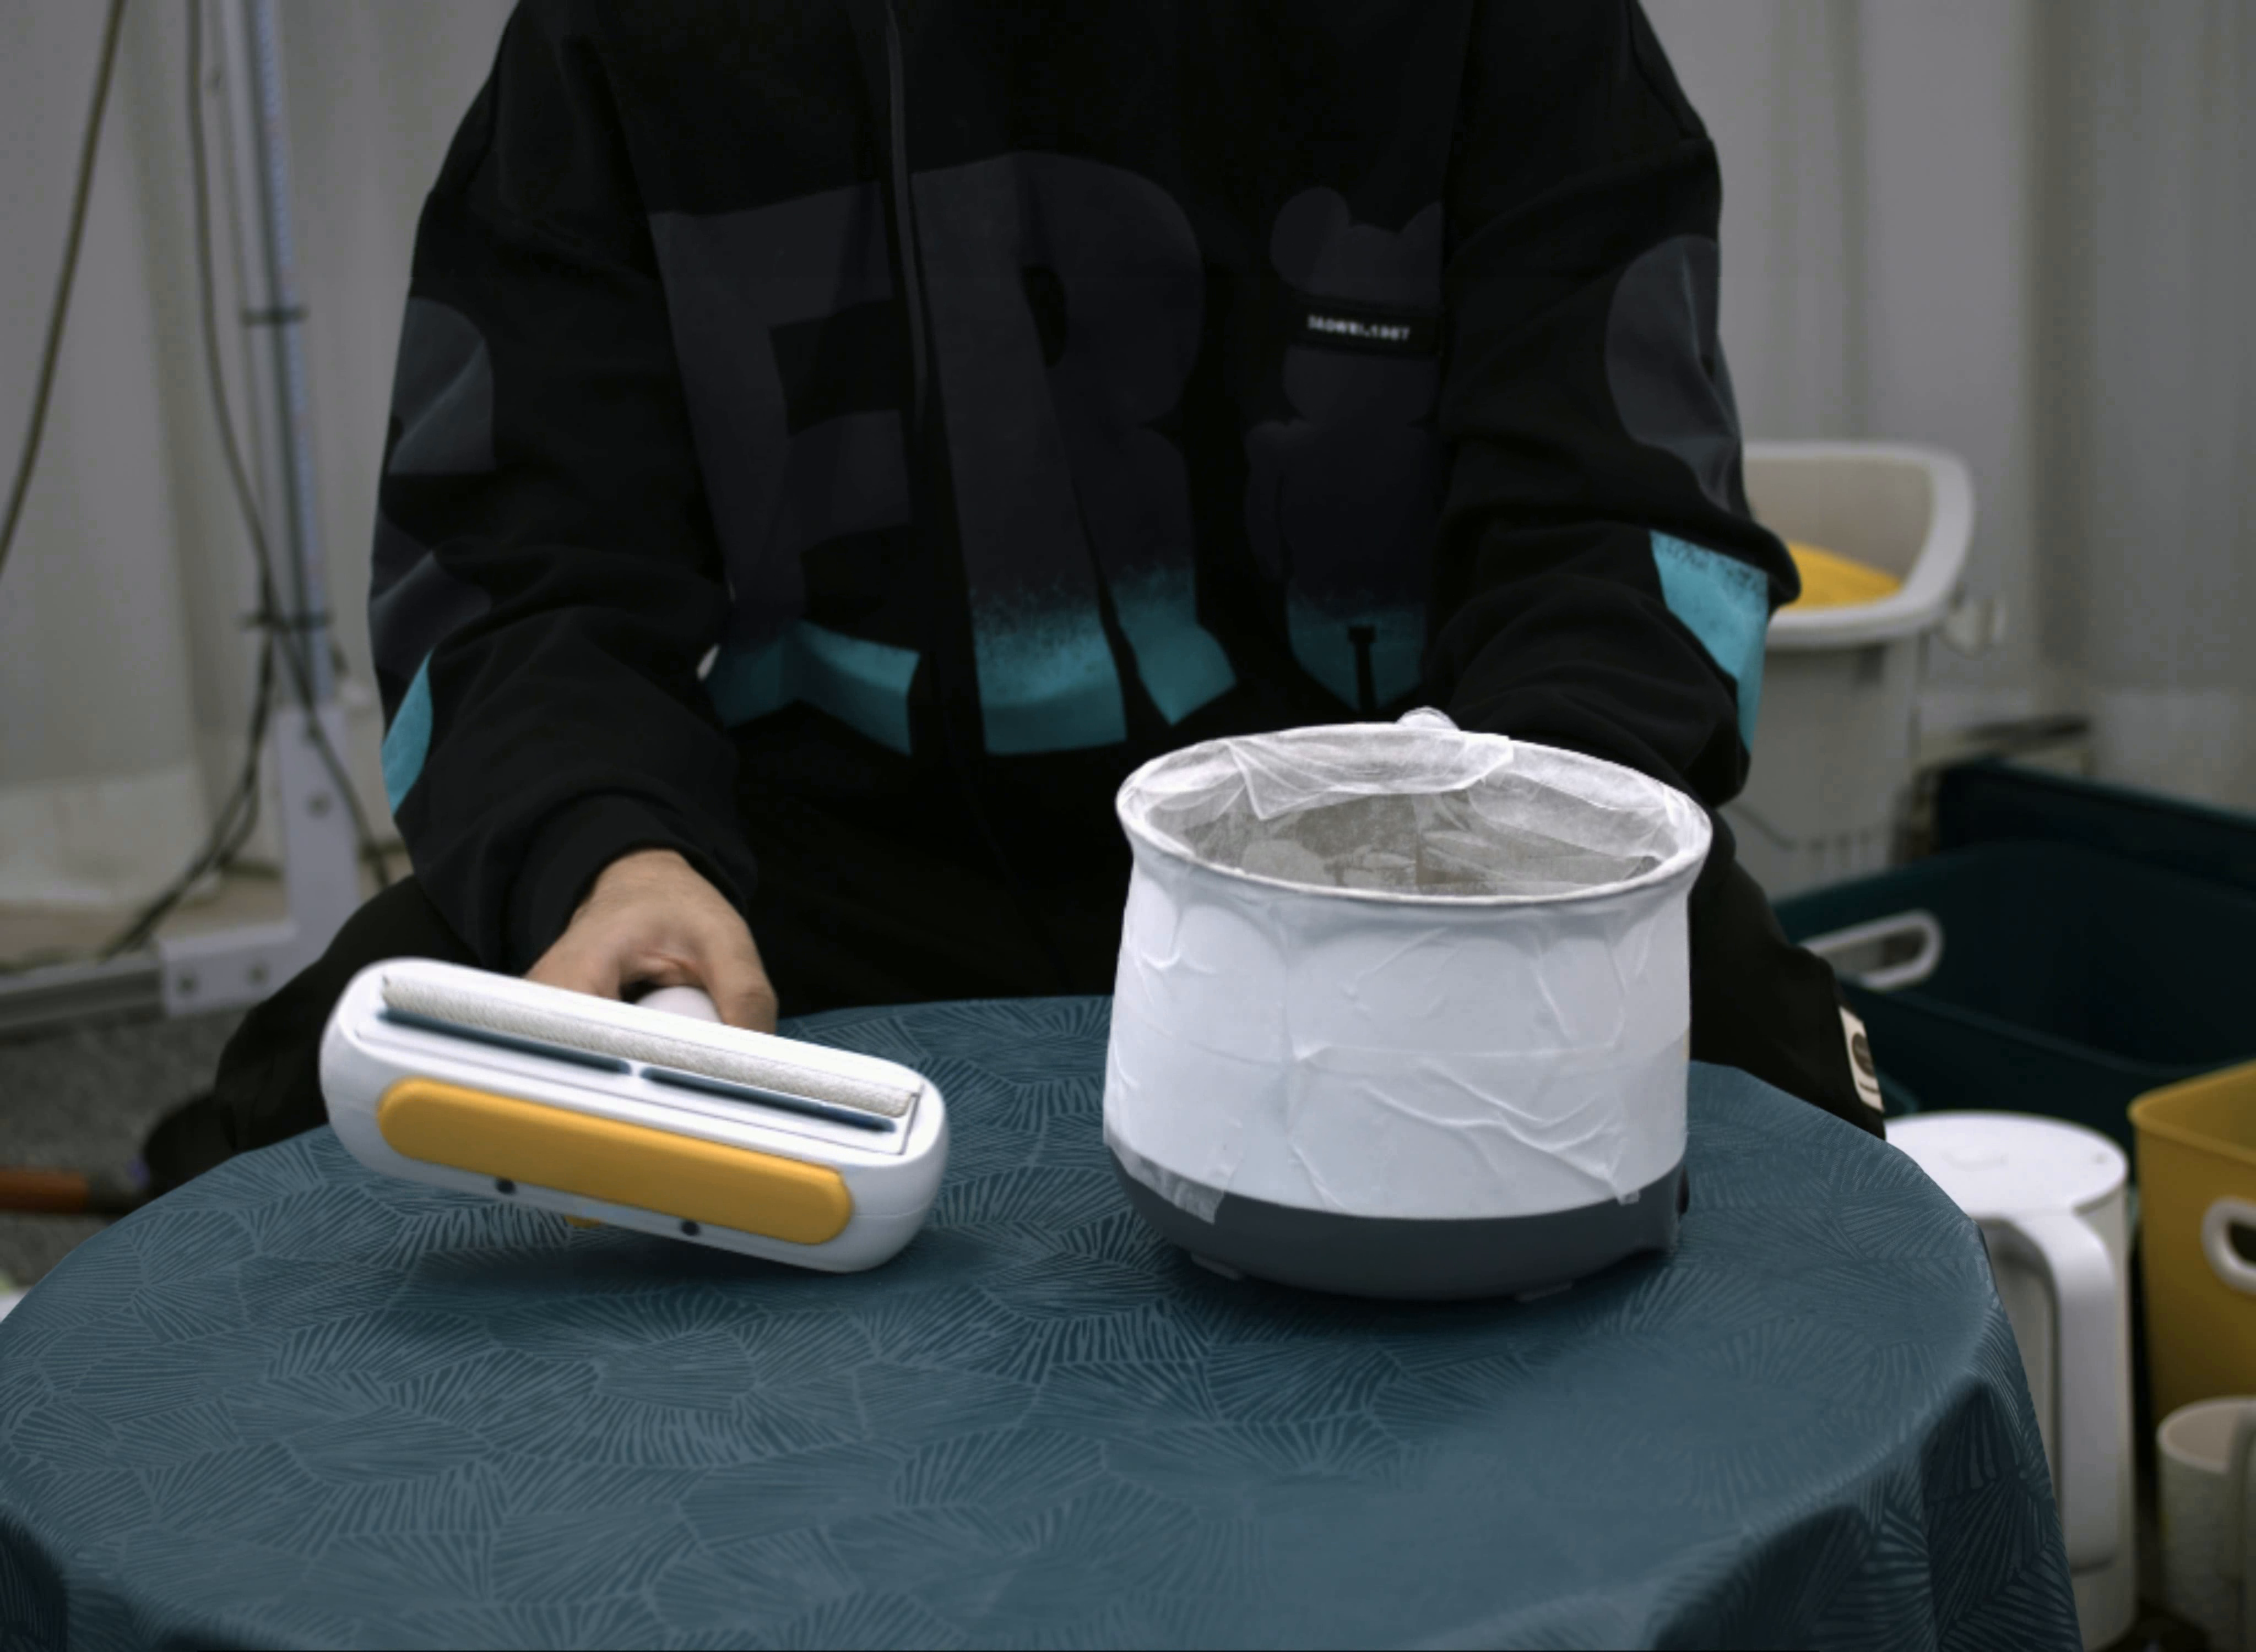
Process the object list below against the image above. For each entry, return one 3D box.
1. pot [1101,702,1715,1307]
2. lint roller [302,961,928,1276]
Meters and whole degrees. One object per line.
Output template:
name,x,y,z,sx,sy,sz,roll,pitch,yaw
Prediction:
pot,0.083,0.048,1.659,0.178,0.136,0.235,4,17,3
lint roller,-0.148,0.075,1.723,0.192,0.074,0.194,8,21,7
